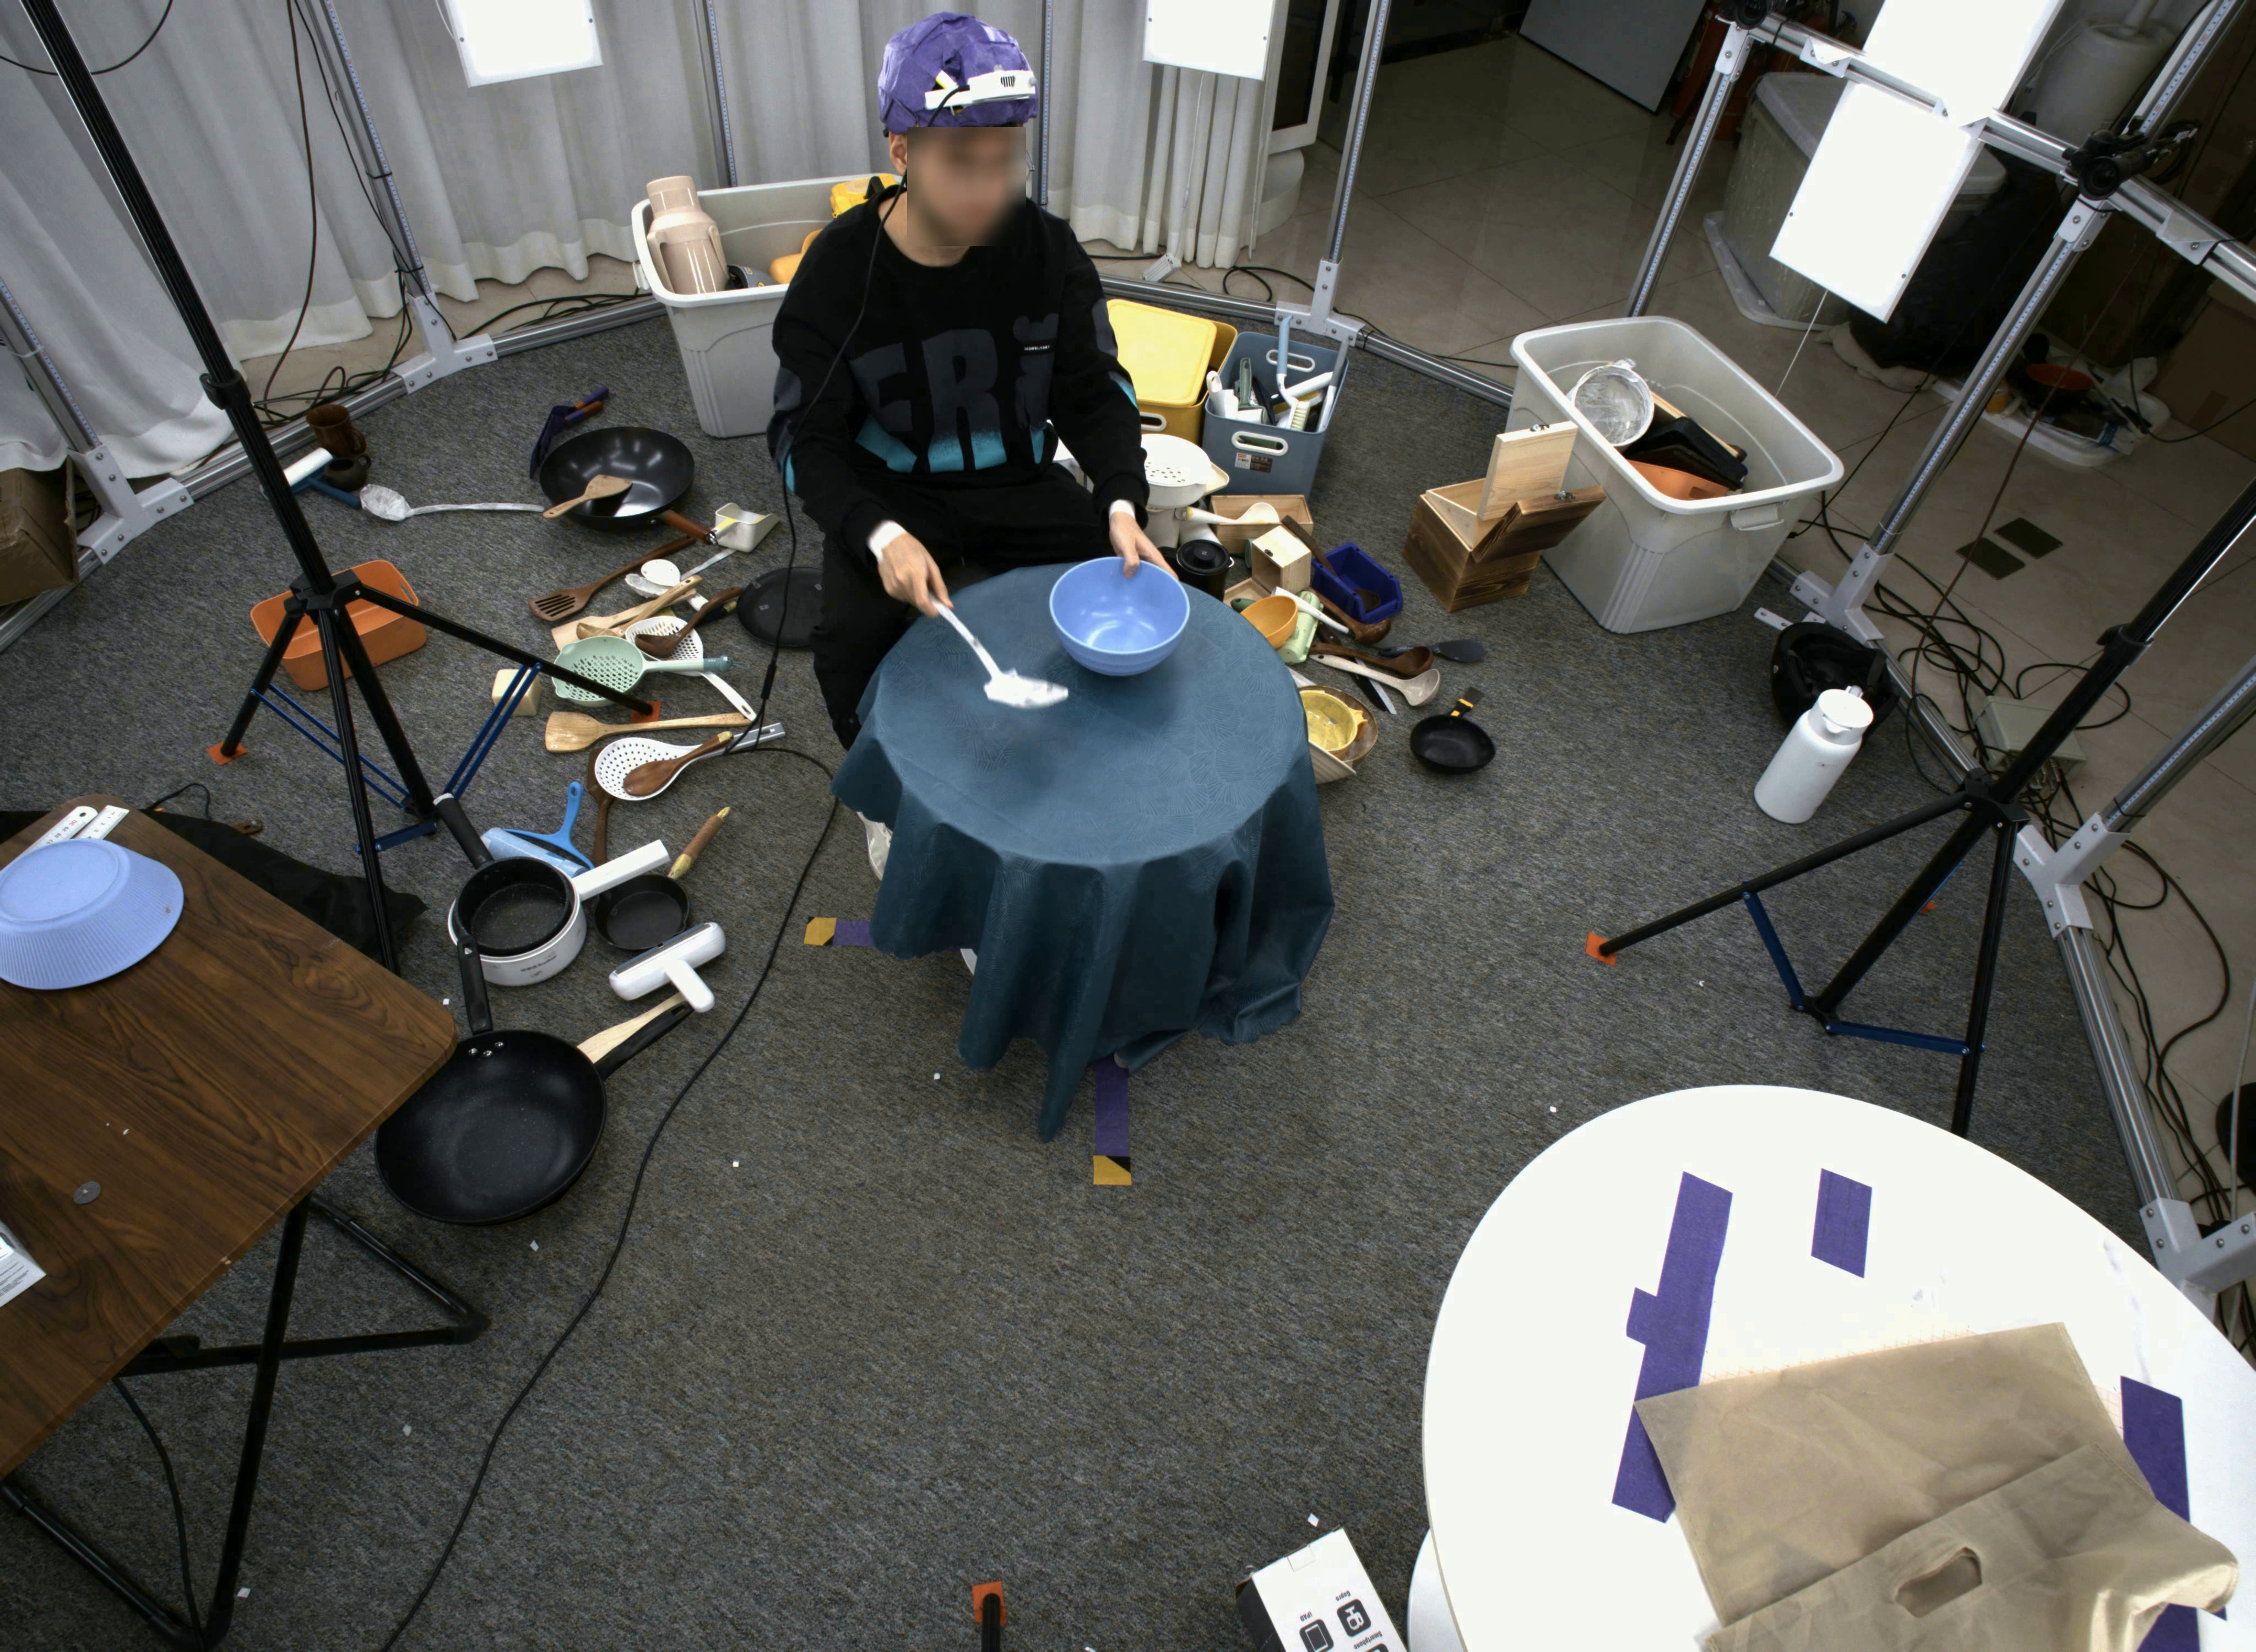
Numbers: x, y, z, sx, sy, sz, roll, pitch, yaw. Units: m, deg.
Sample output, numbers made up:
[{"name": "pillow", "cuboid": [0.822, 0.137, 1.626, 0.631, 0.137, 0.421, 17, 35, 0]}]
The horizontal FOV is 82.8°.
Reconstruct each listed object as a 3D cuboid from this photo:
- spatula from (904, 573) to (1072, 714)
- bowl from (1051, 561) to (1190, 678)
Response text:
[{"name": "spatula", "cuboid": [-0.213, -0.259, 1.772, 0.099, 0.044, 0.371, -17, 53, -37]}, {"name": "bowl", "cuboid": [-0.012, -0.281, 1.845, 0.196, 0.093, 0.201, 1, 51, -1]}]
